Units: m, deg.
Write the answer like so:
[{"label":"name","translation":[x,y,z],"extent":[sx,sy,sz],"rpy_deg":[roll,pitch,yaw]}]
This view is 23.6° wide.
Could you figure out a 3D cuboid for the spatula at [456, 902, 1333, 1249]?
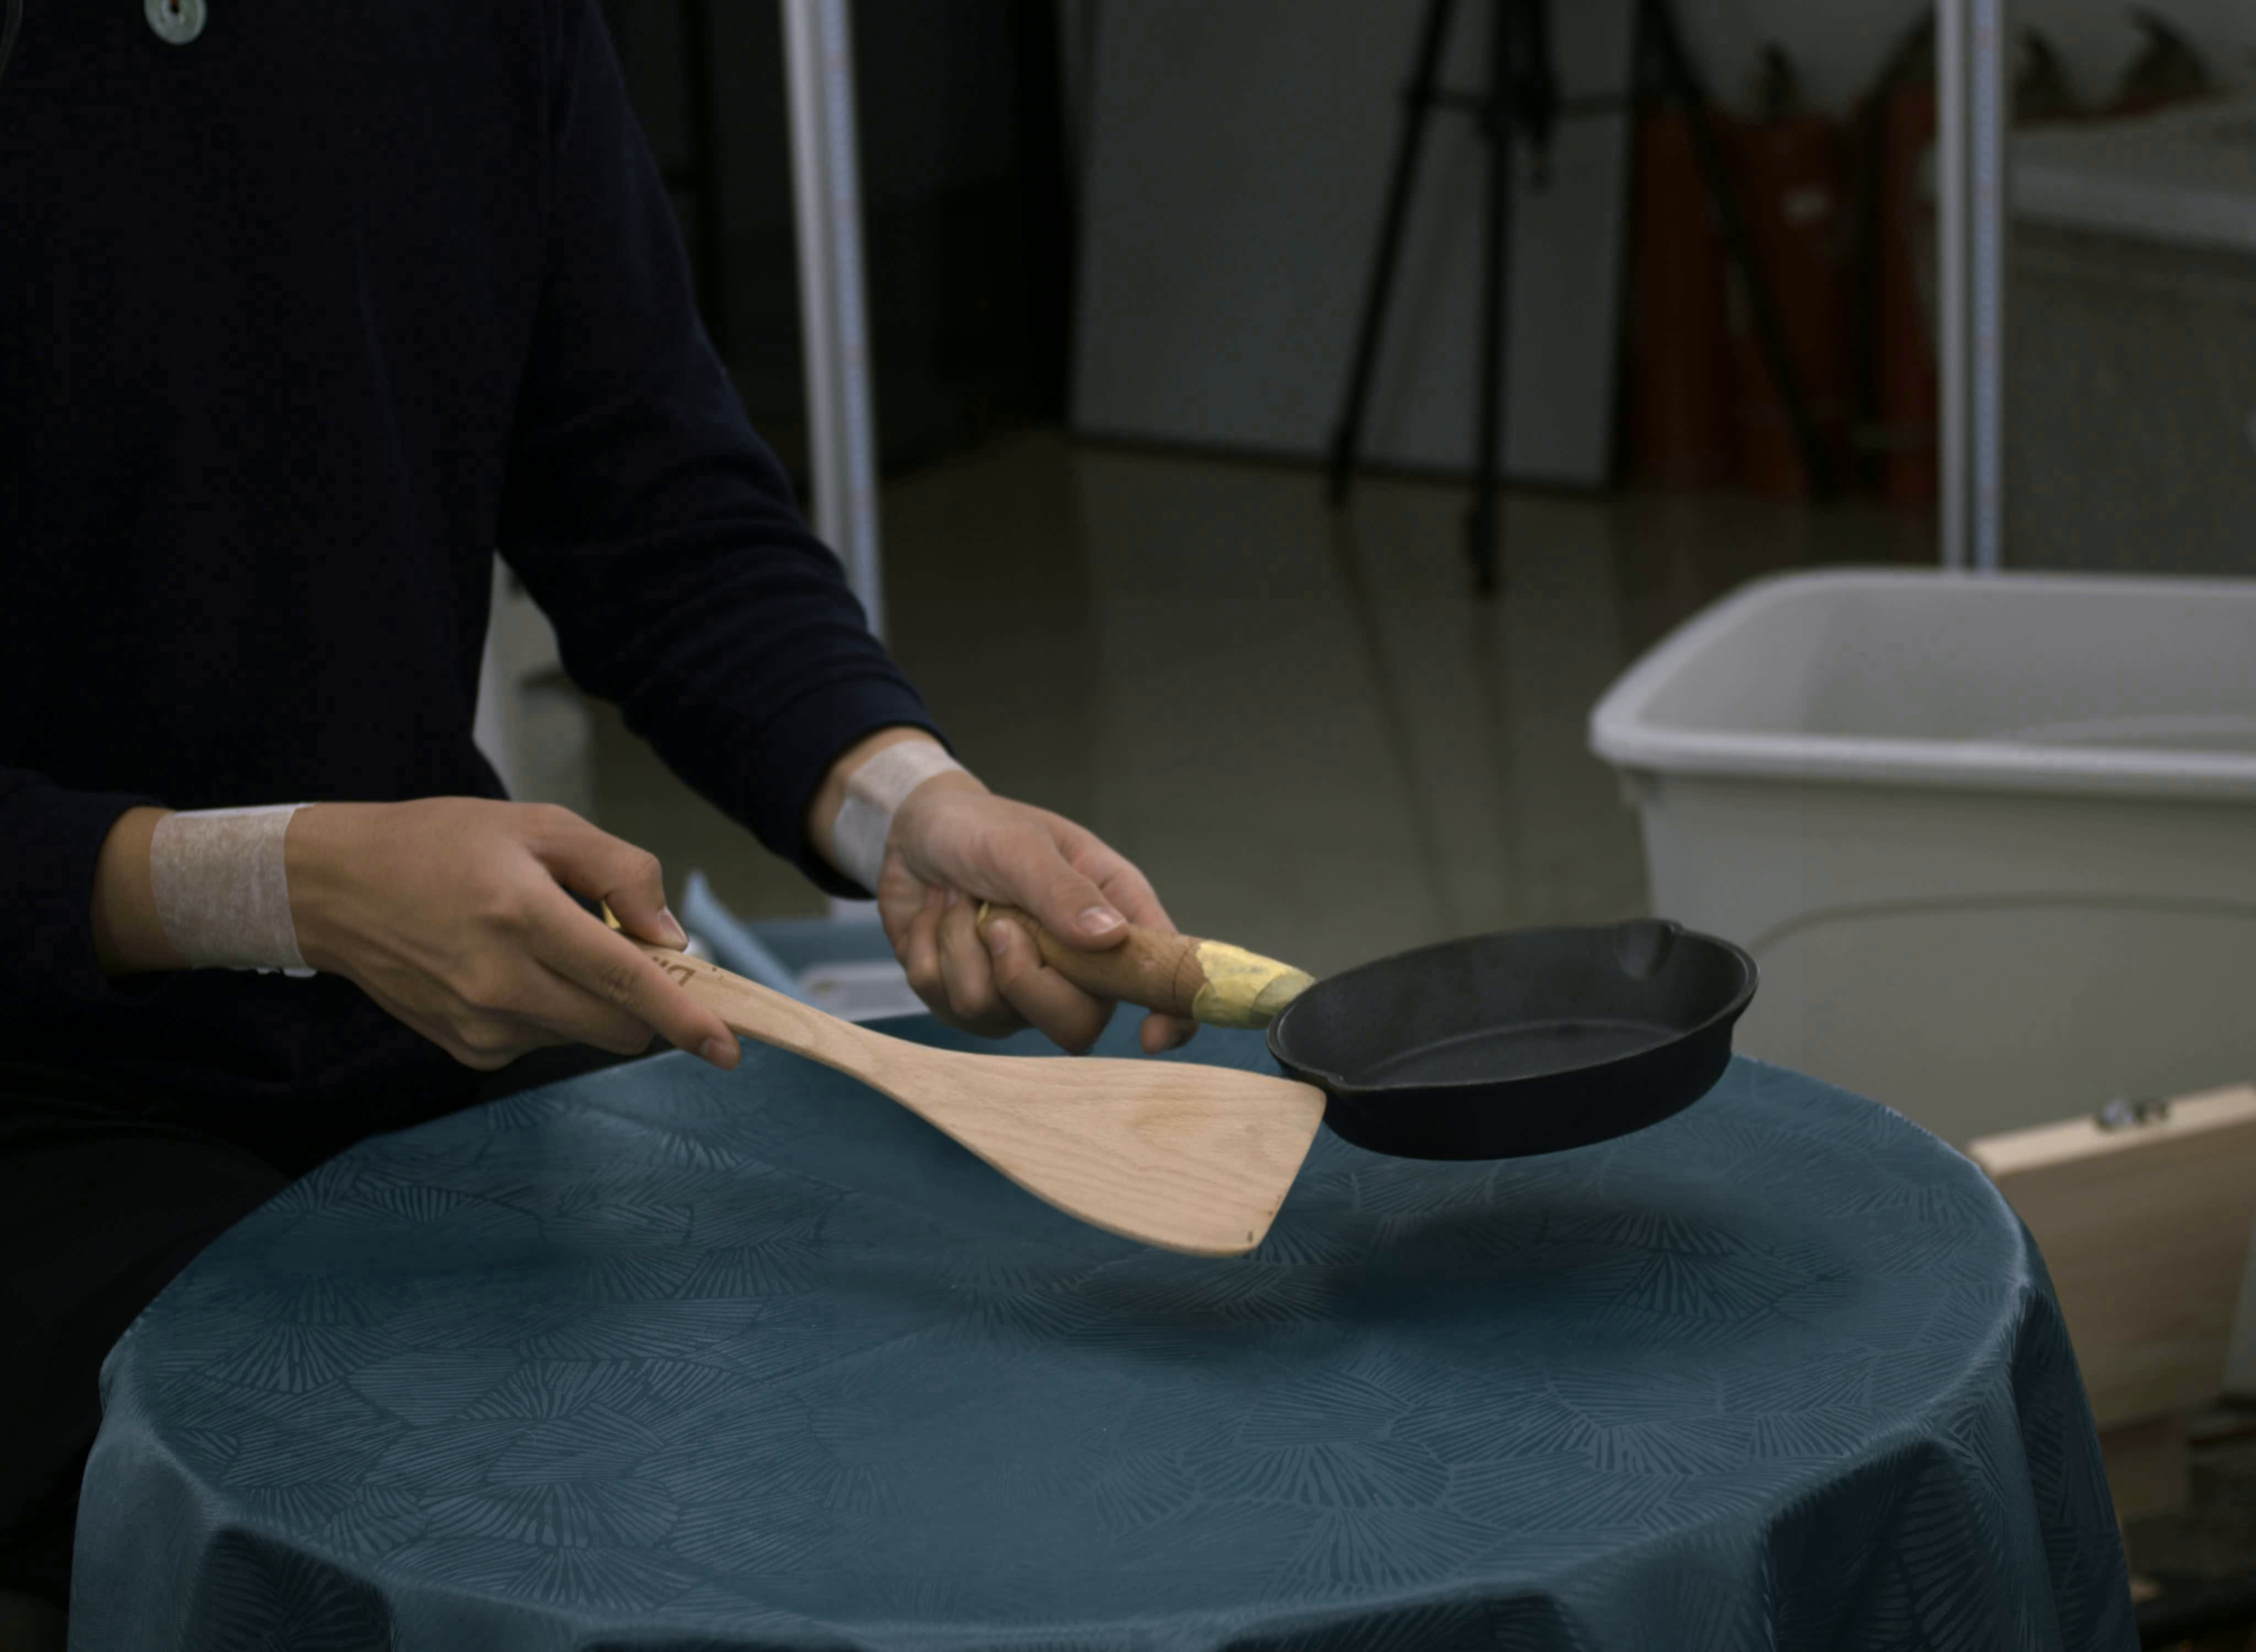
[{"label":"spatula","translation":[-0.080,0.068,1.704],"extent":[0.329,0.016,0.079],"rpy_deg":[17,44,29]}]

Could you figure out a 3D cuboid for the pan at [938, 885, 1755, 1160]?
[{"label":"pan","translation":[0.060,0.055,1.748],"extent":[0.327,0.050,0.166],"rpy_deg":[5,22,44]}]
